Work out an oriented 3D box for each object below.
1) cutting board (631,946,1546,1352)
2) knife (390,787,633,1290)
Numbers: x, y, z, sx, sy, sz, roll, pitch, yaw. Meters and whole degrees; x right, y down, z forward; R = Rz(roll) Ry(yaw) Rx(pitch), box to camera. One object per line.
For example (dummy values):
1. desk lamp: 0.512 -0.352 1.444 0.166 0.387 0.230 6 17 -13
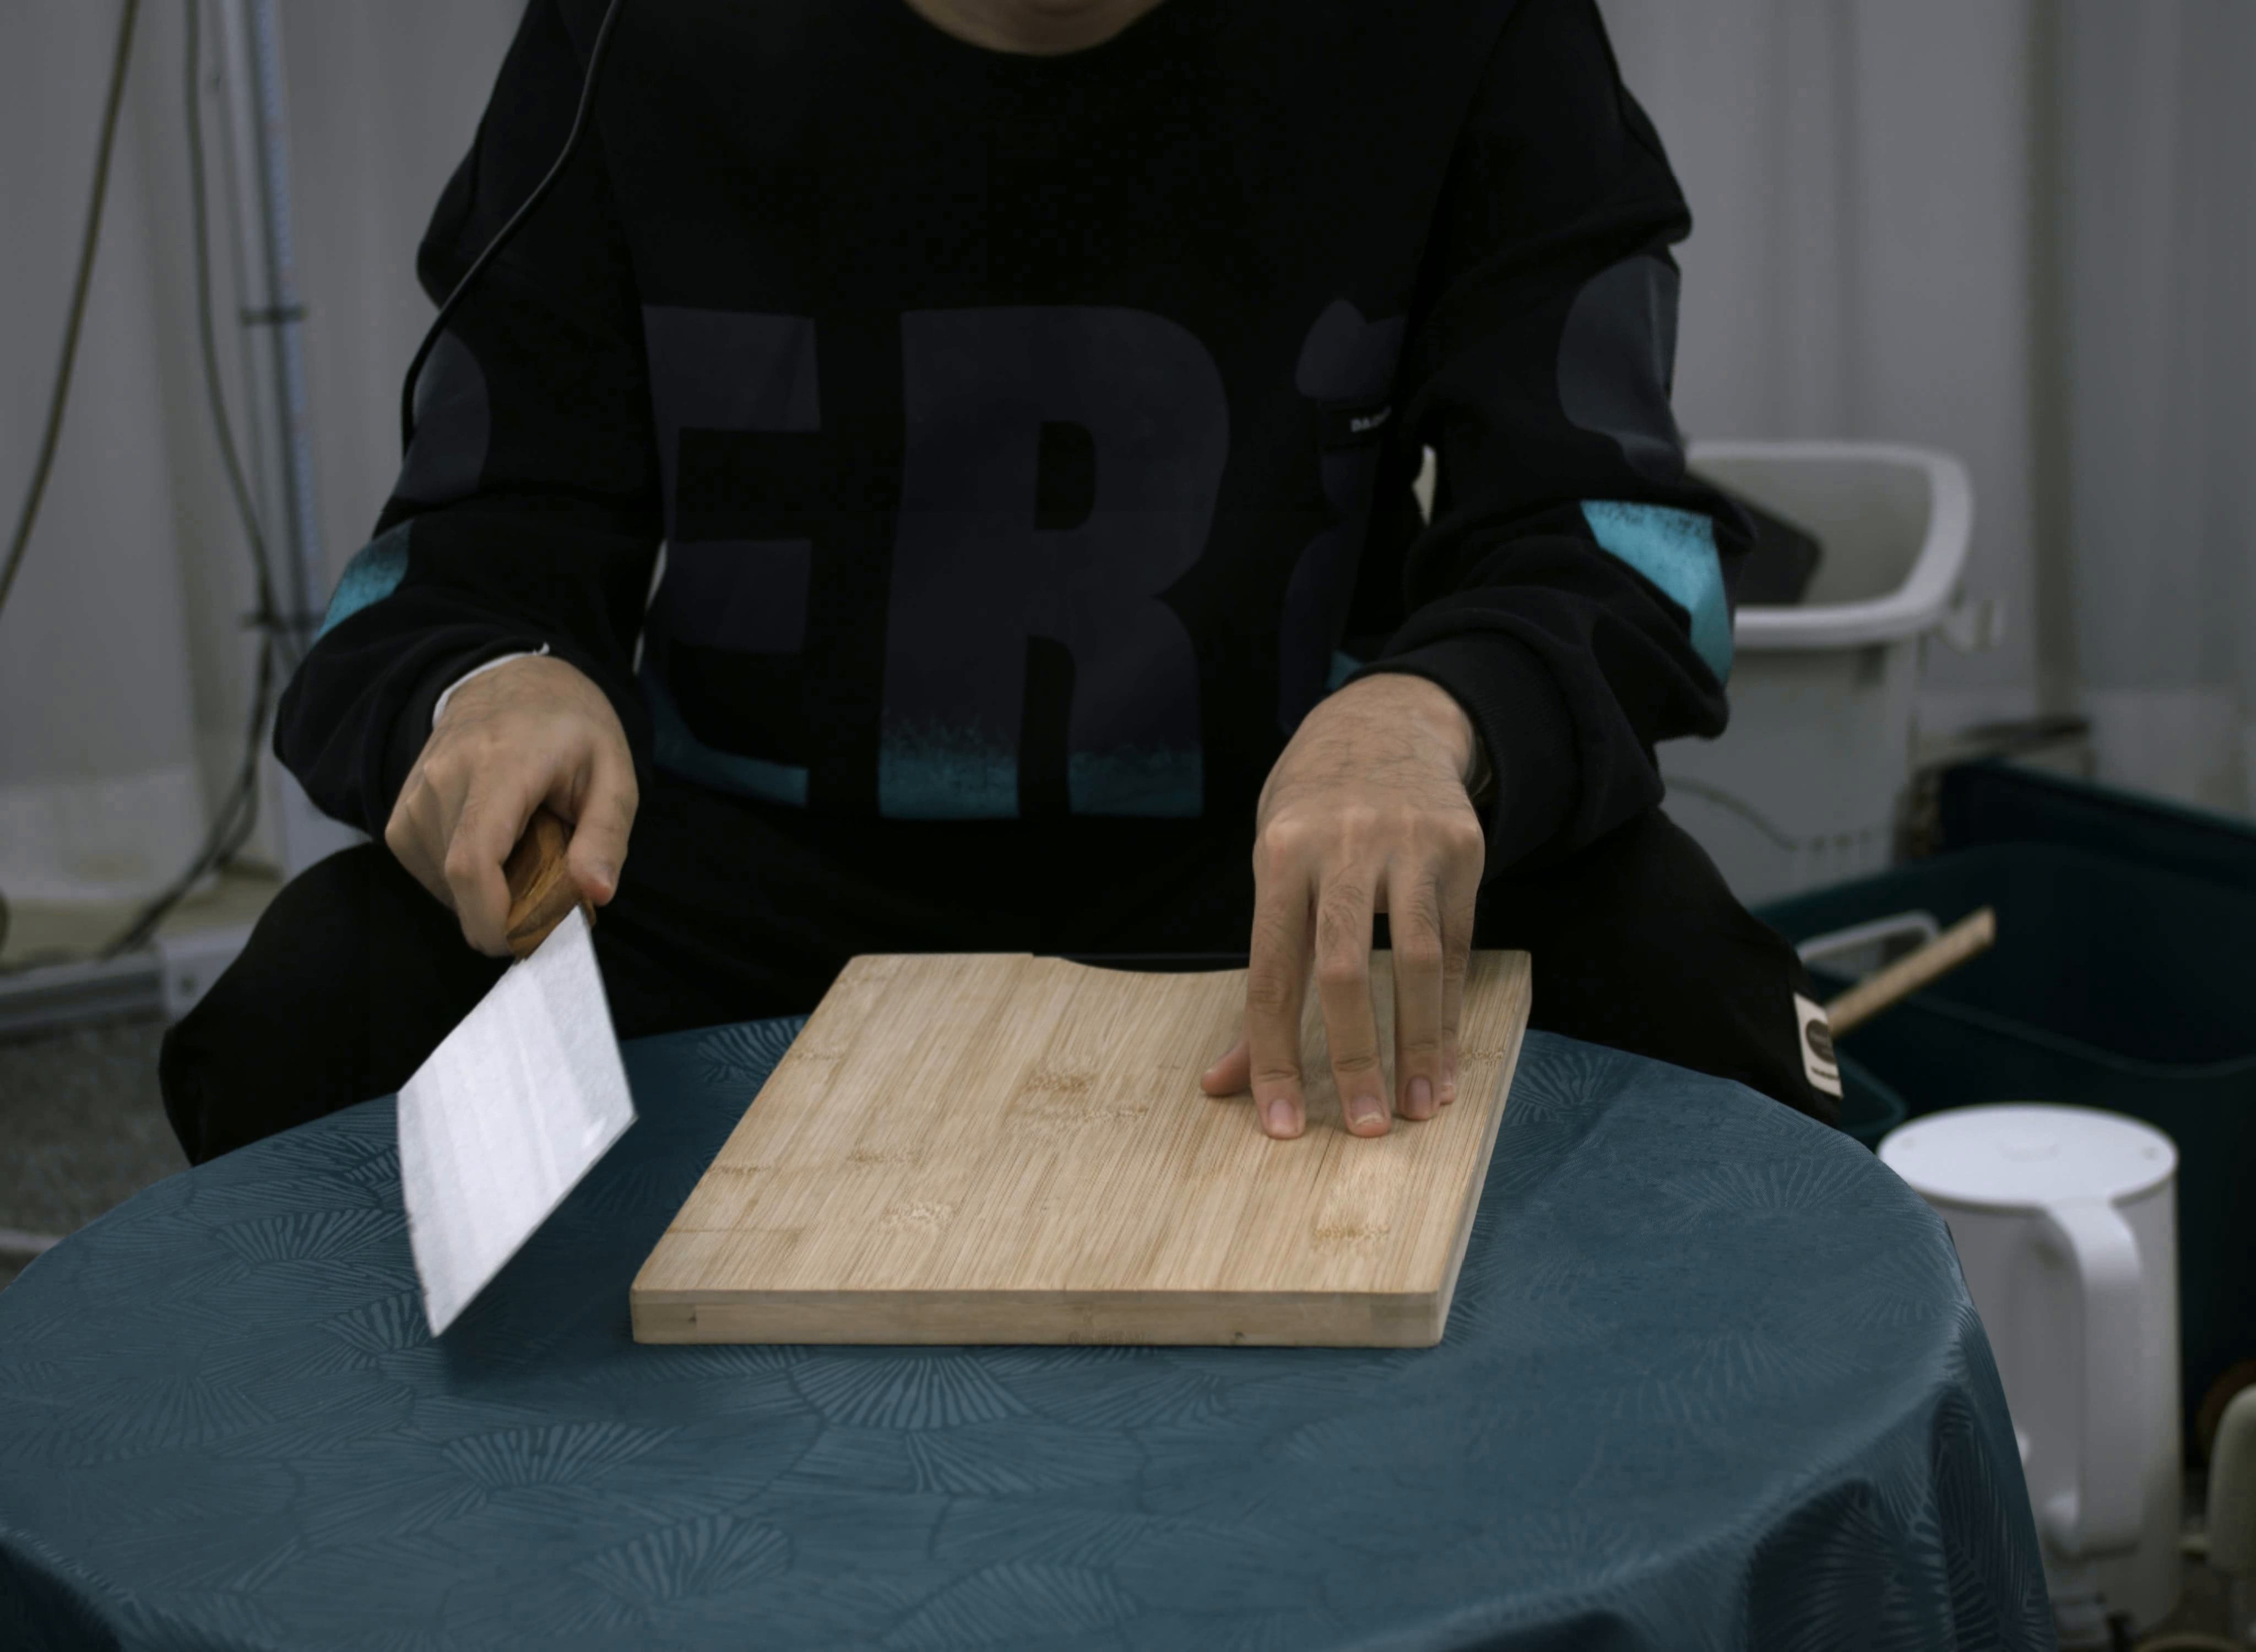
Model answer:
1. cutting board: -0.001 0.097 1.749 0.250 0.023 0.350 0 15 8
2. knife: -0.198 0.066 1.709 0.093 0.021 0.309 -47 20 7
